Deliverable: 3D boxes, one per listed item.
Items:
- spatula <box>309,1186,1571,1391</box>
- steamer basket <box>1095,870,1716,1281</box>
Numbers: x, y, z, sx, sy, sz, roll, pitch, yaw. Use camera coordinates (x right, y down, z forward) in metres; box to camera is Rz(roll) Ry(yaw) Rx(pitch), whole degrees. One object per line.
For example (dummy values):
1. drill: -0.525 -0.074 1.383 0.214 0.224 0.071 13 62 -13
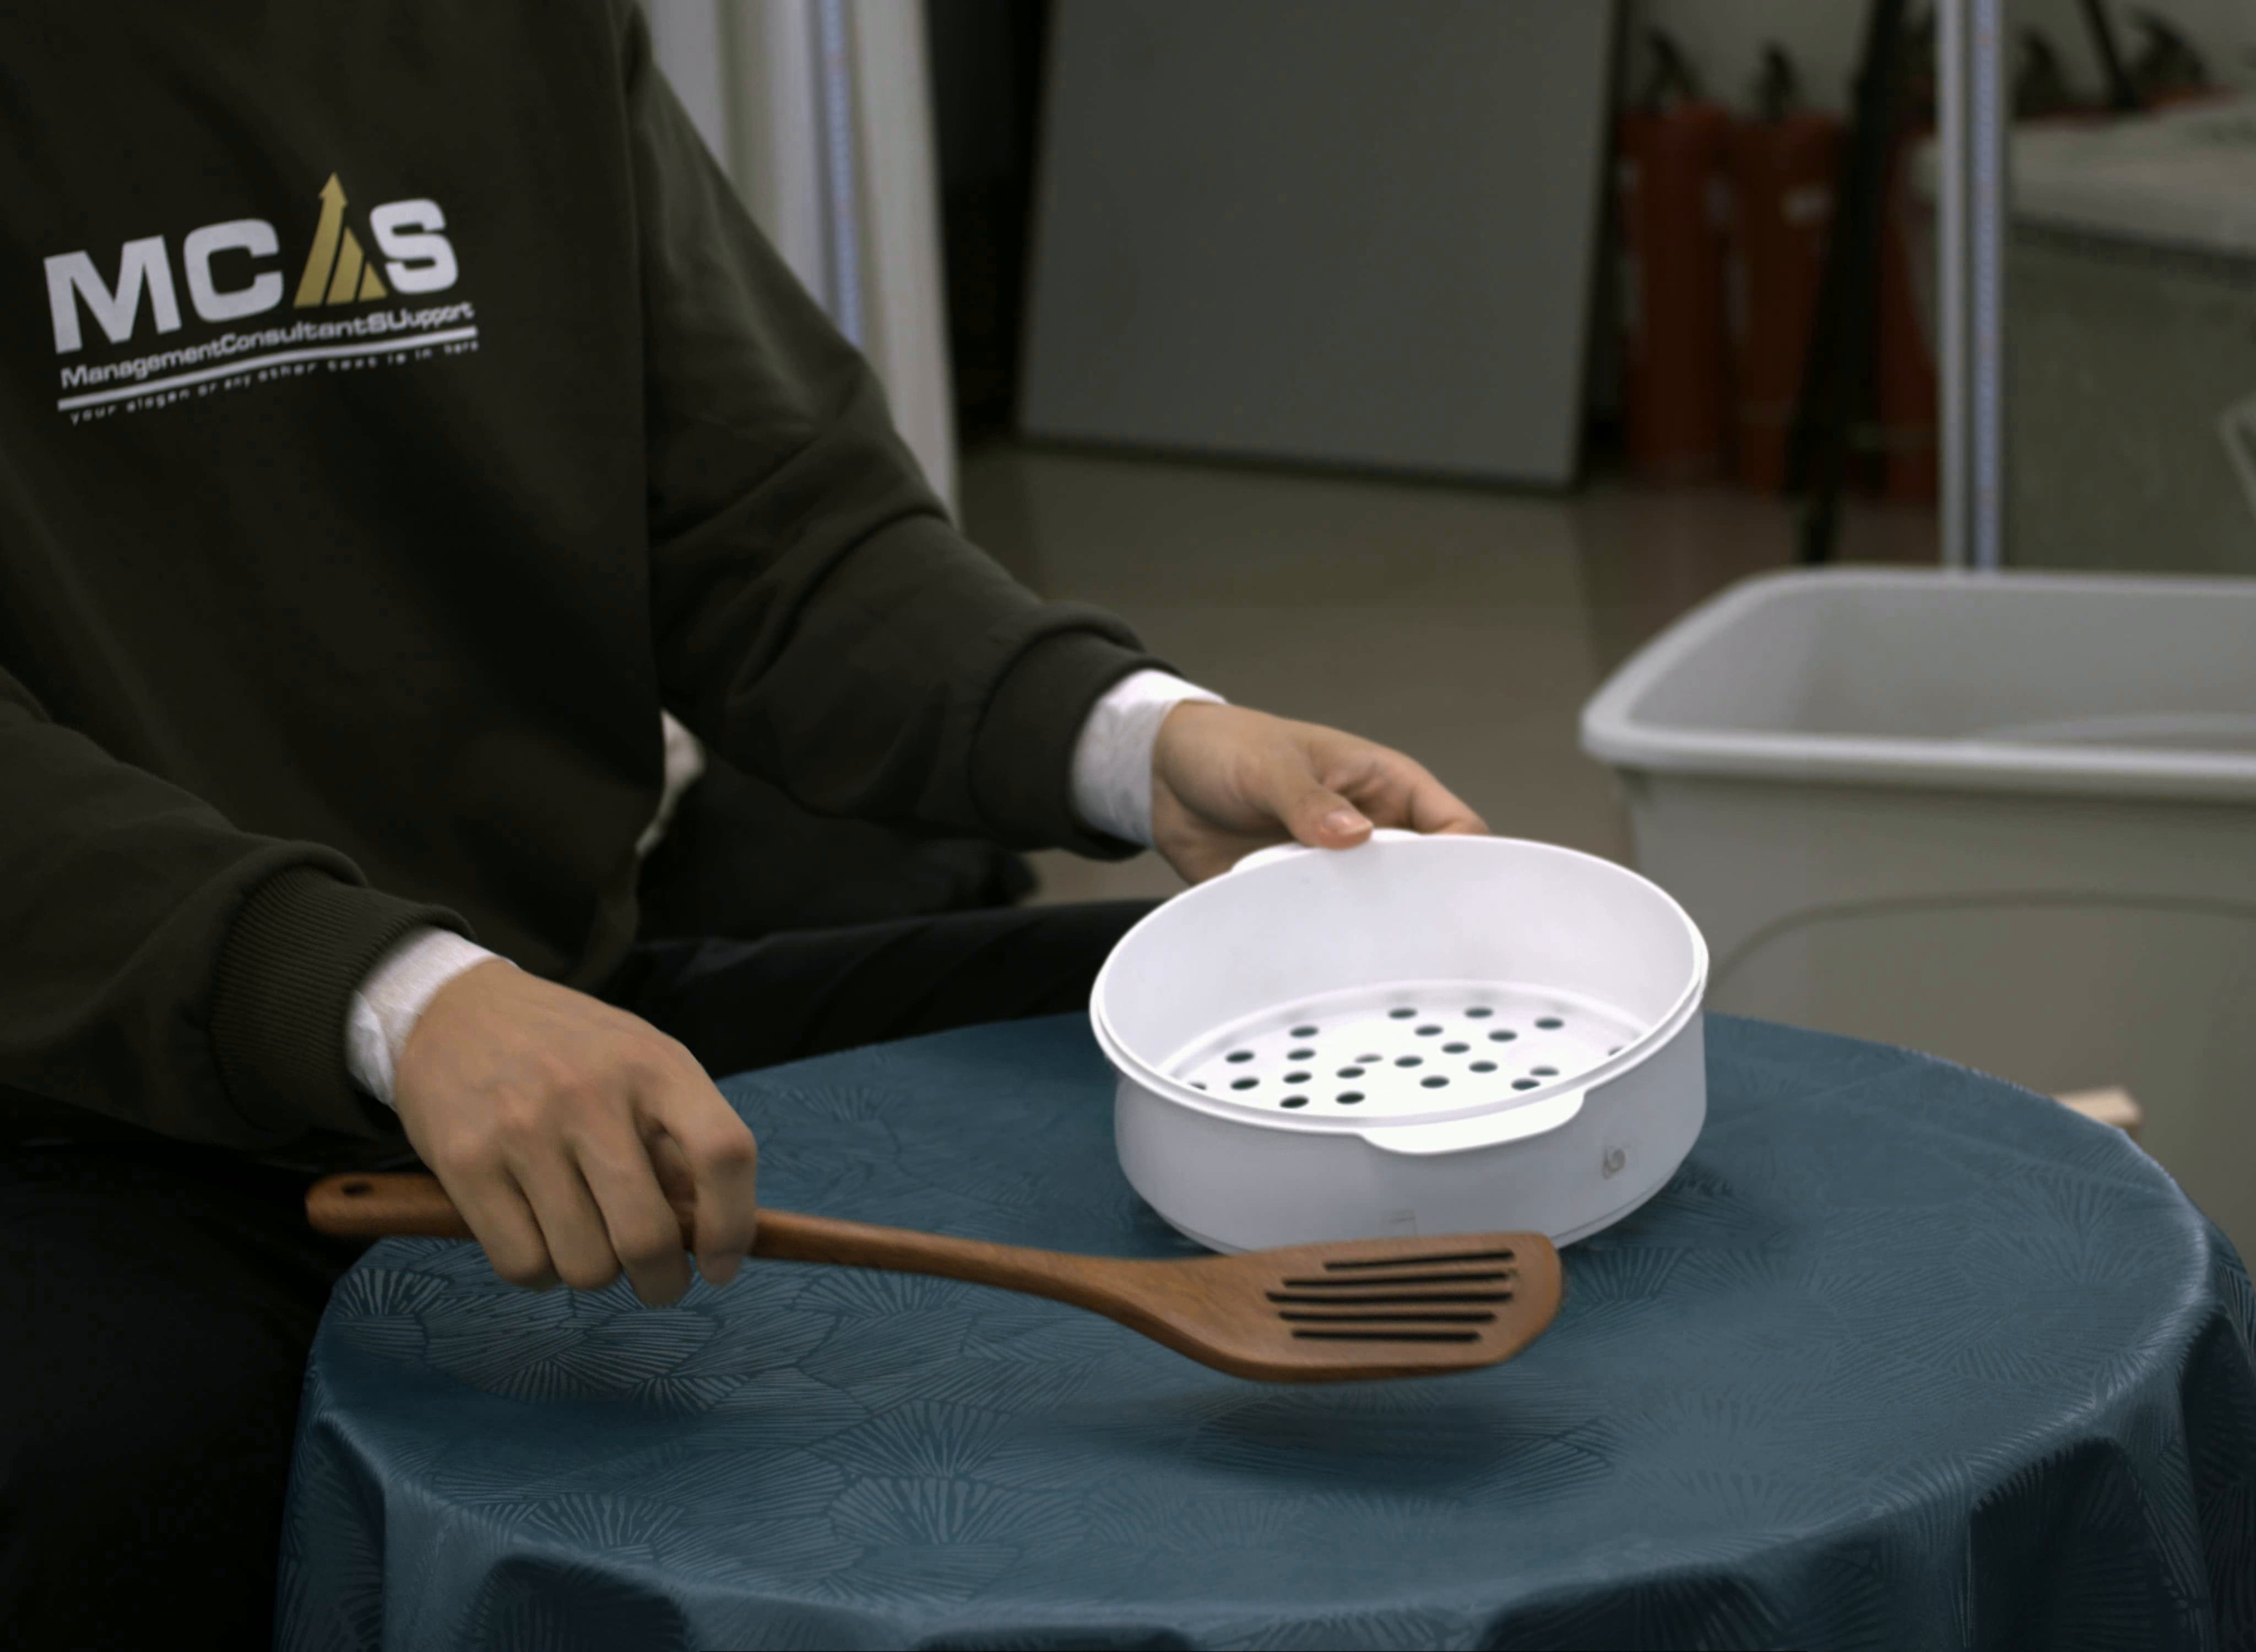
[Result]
1. spatula: -0.061 0.131 1.578 0.383 0.024 0.085 4 23 15
2. steamer basket: 0.091 0.081 1.735 0.198 0.070 0.232 -8 21 -7
